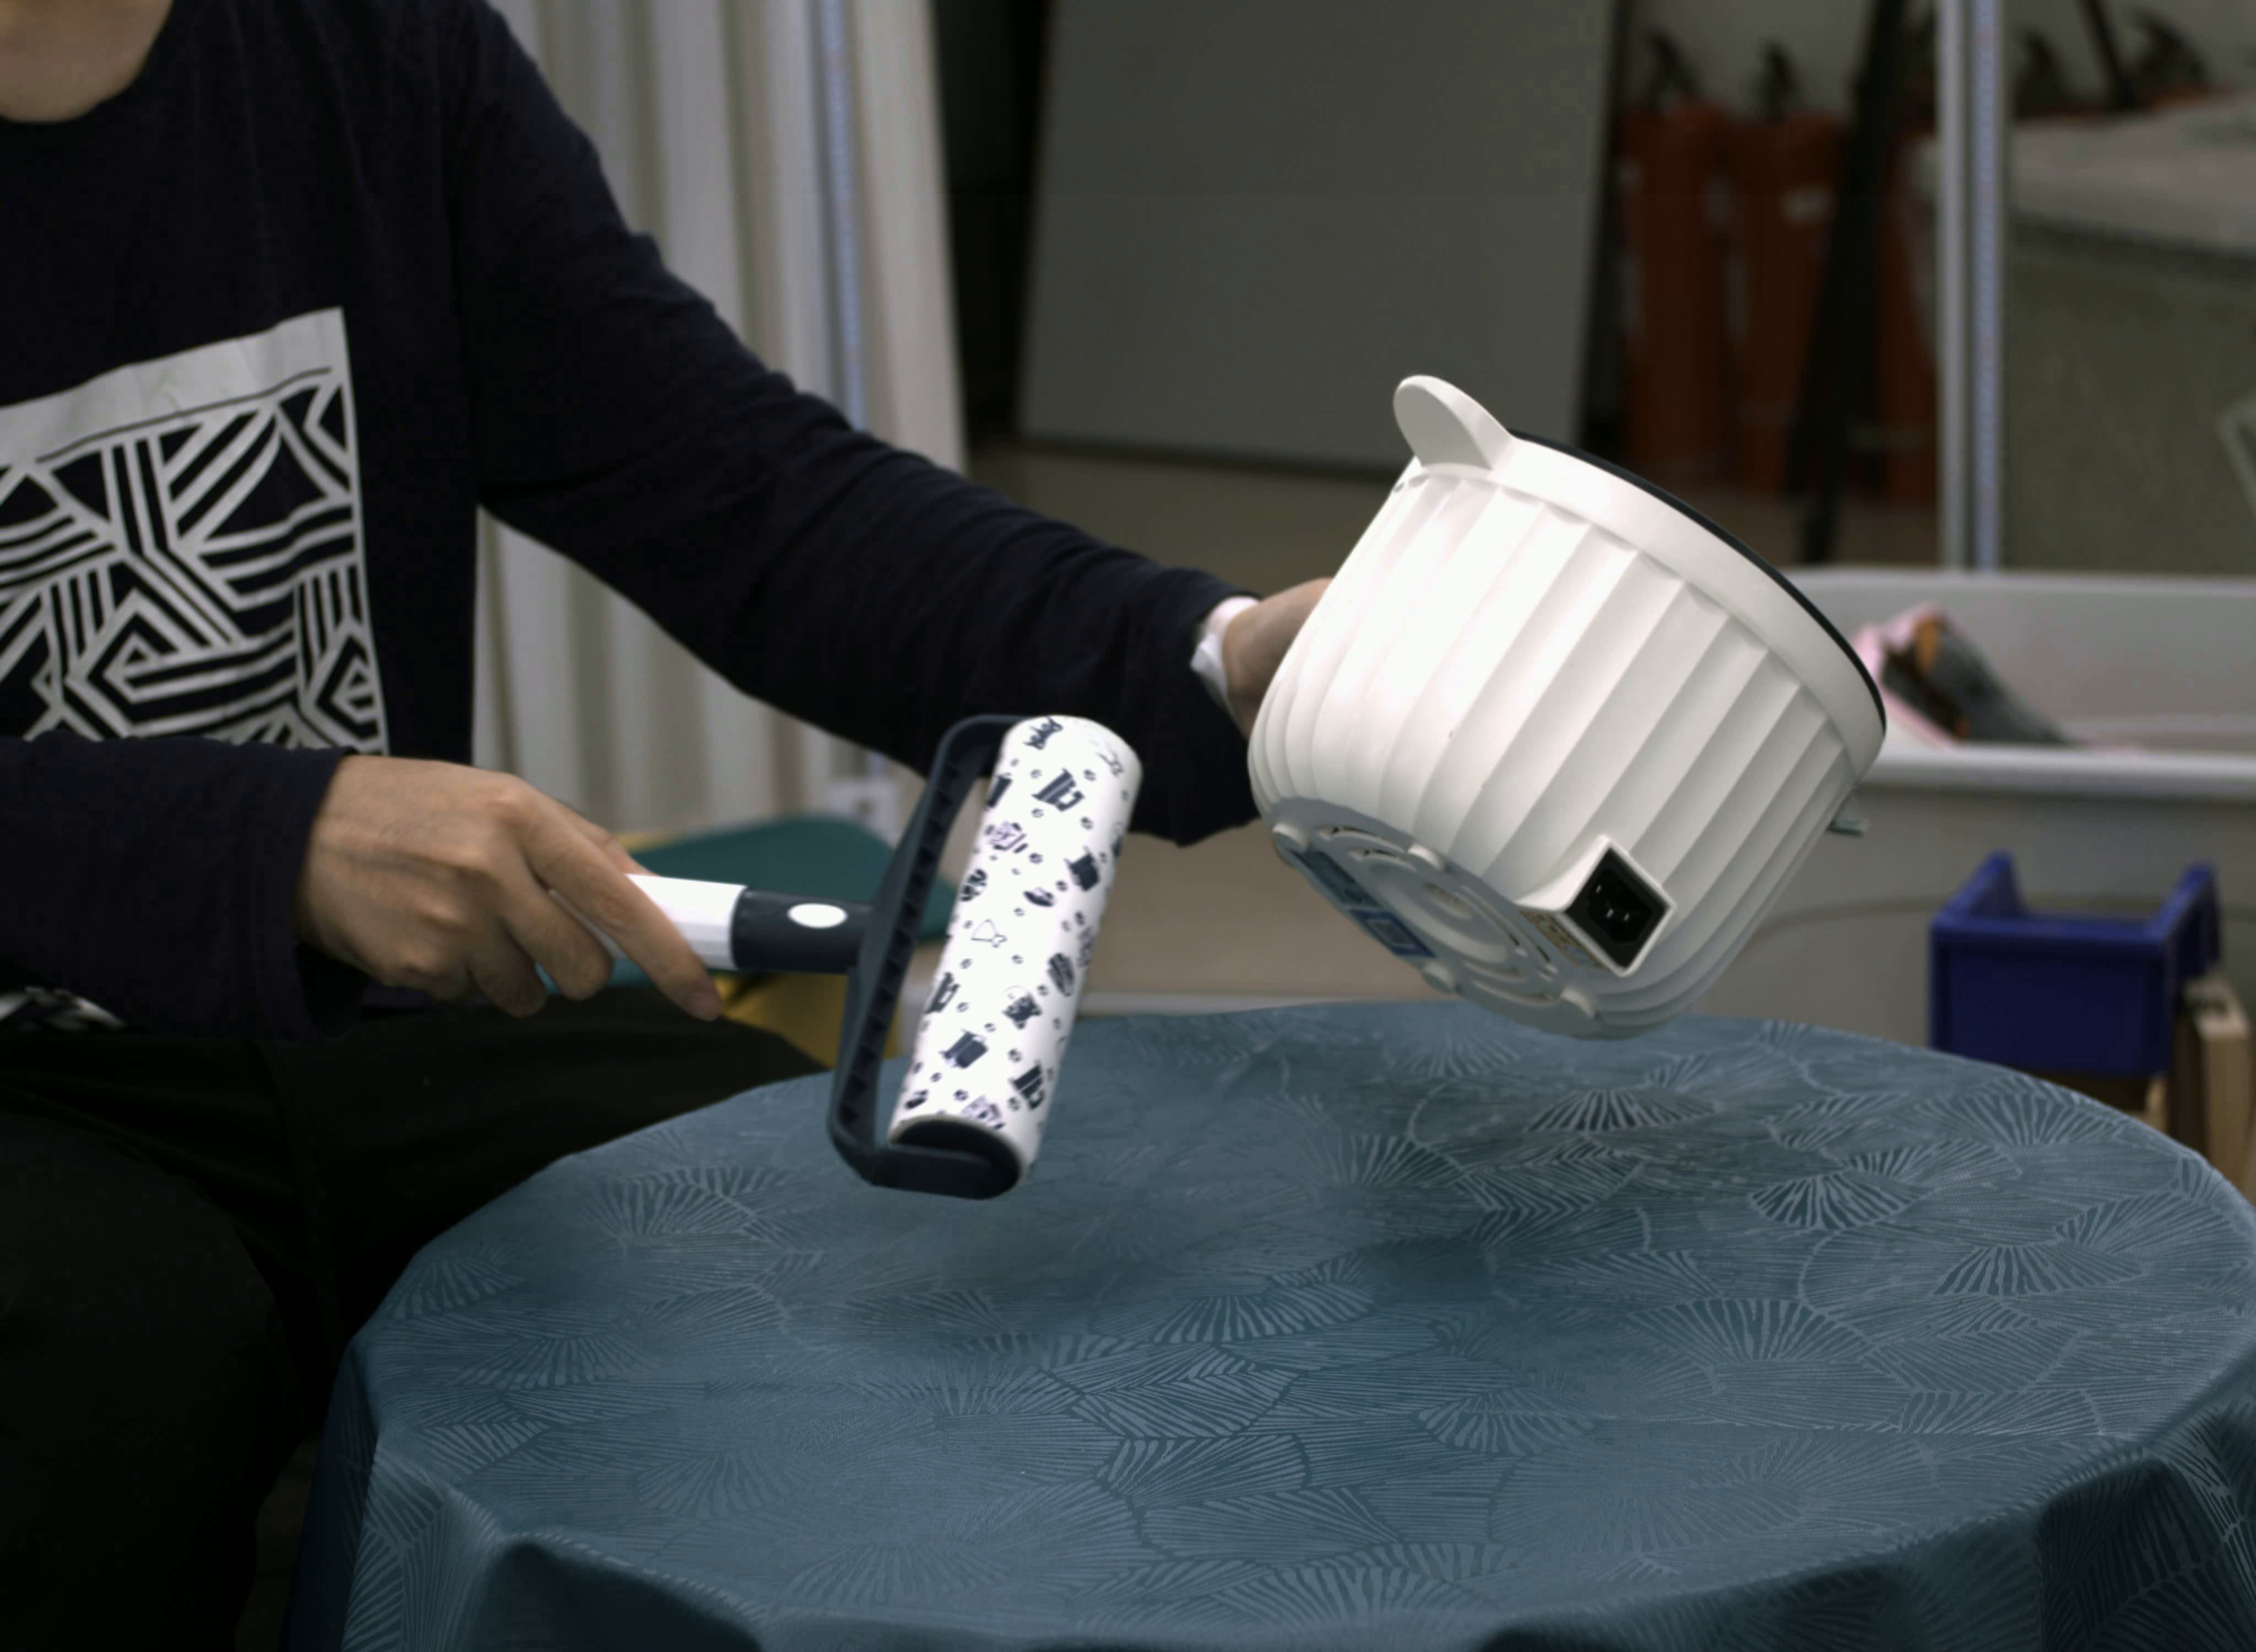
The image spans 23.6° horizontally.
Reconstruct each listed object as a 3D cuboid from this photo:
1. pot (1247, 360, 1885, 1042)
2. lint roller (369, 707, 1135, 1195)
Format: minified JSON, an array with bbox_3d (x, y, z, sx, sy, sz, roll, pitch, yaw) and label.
[{"bbox_3d":[0.130,-0.025,1.744,0.142,0.238,0.192,-52,27,-14],"label":"pot"},{"bbox_3d":[-0.131,0.033,1.741,0.246,0.050,0.177,4,52,15],"label":"lint roller"}]
